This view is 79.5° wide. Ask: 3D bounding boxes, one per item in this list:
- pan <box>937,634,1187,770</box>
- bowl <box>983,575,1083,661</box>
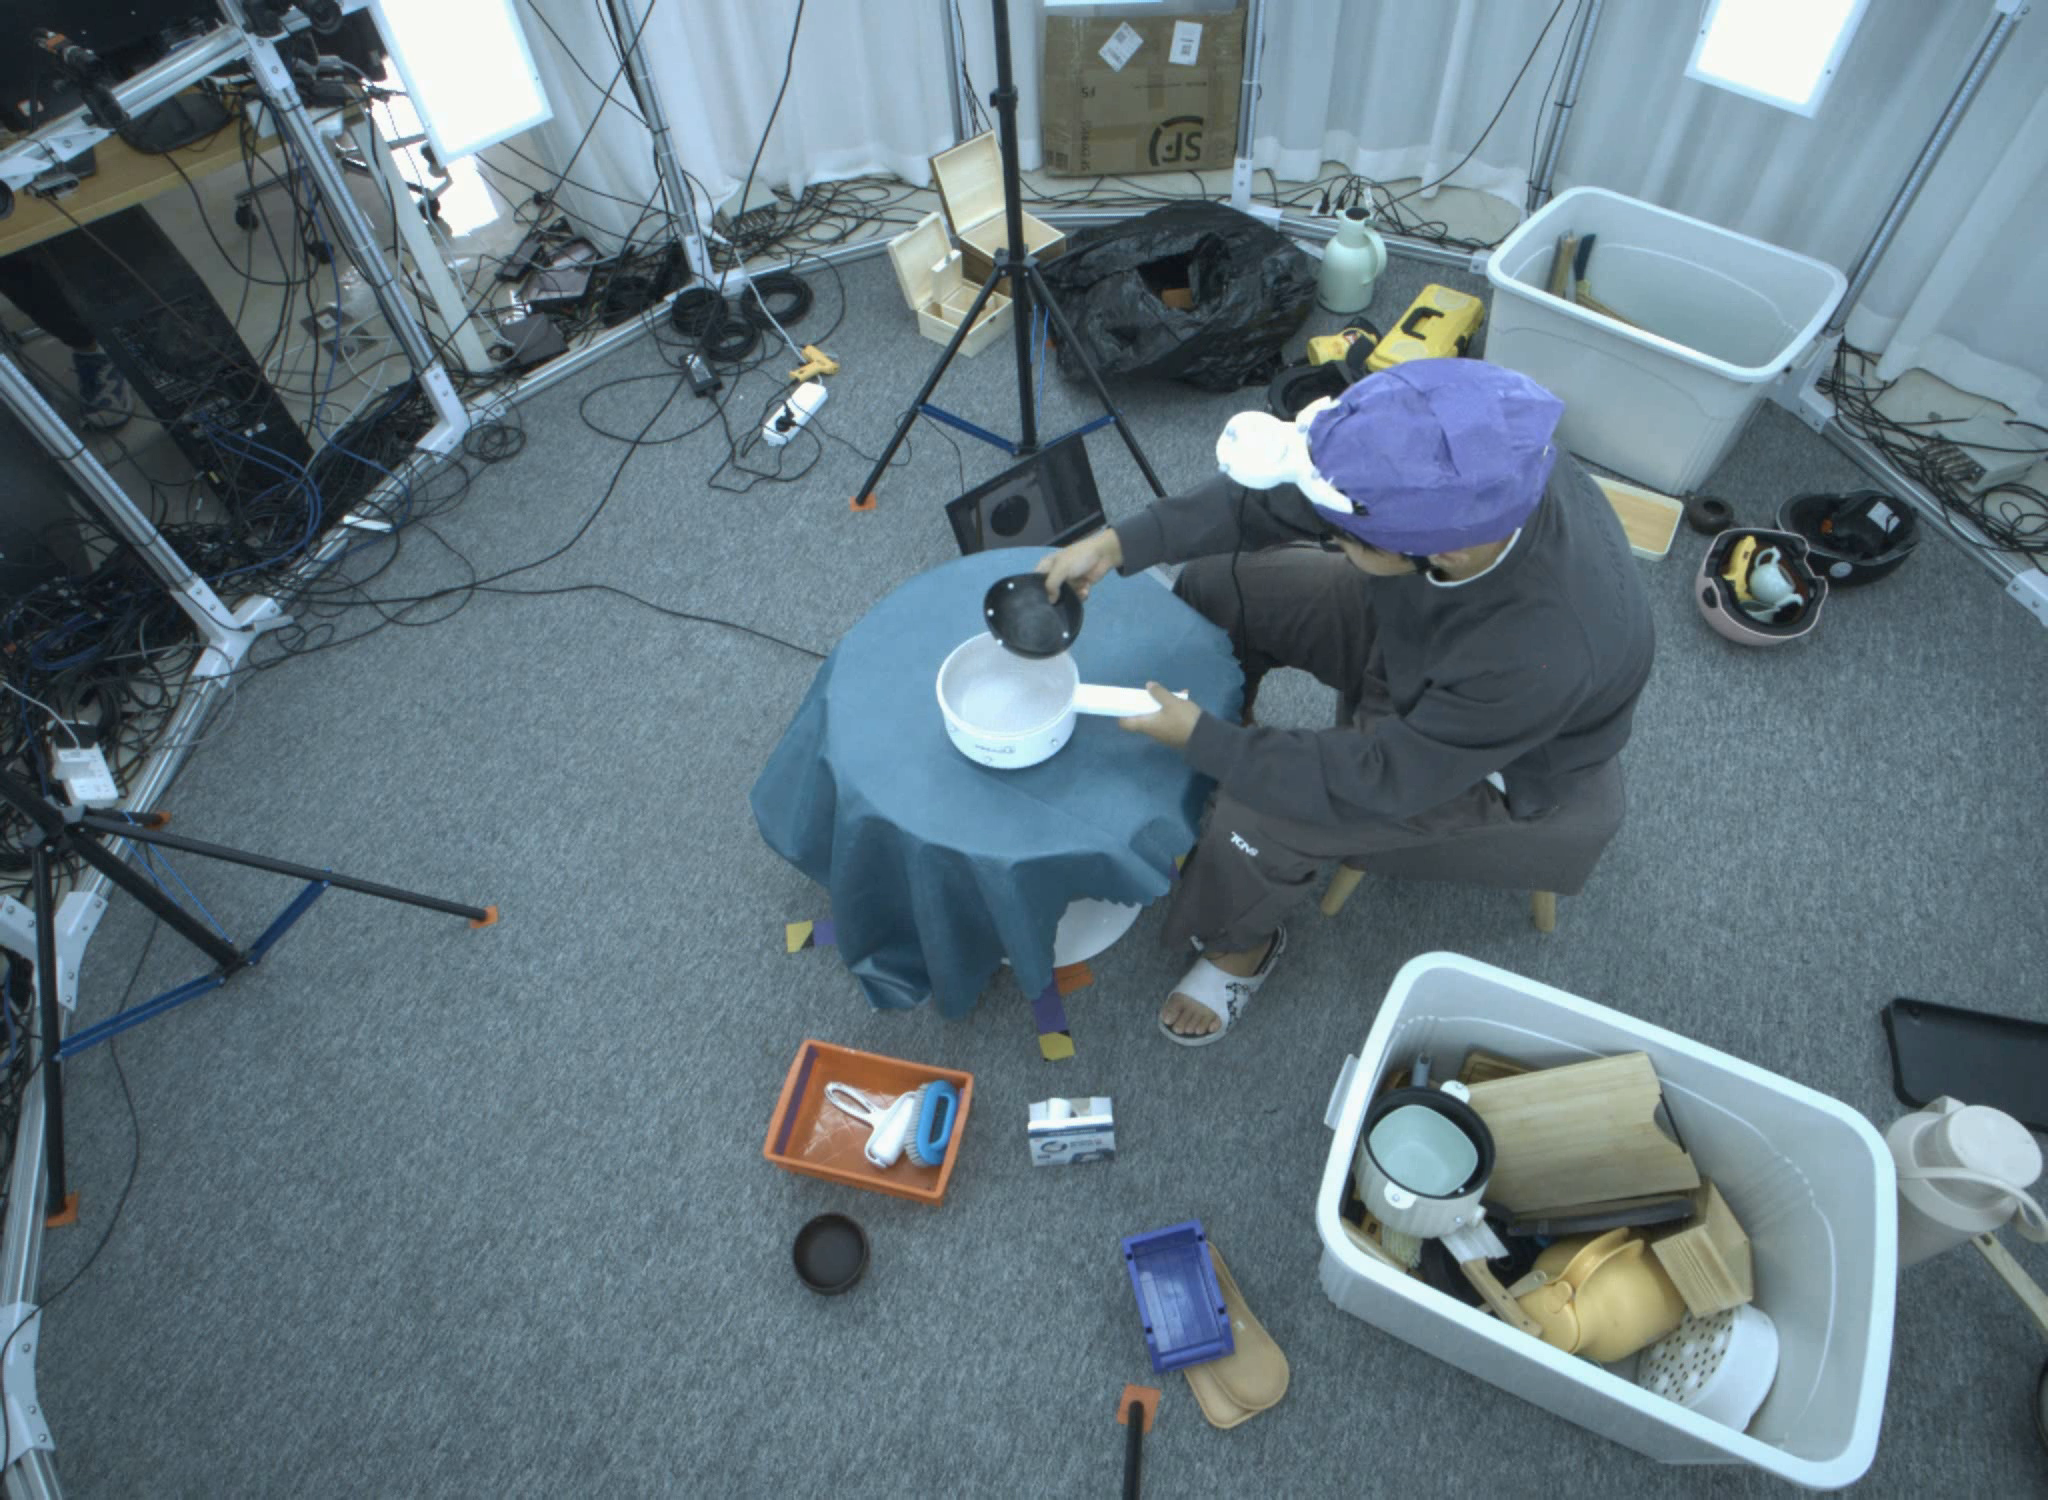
[{"bbox_3d":[0.054,-0.057,1.772,0.354,0.103,0.200,8,54,4],"label":"pan"},{"bbox_3d":[0.011,-0.176,1.706,0.138,0.067,0.167,-7,49,-9],"label":"bowl"}]
